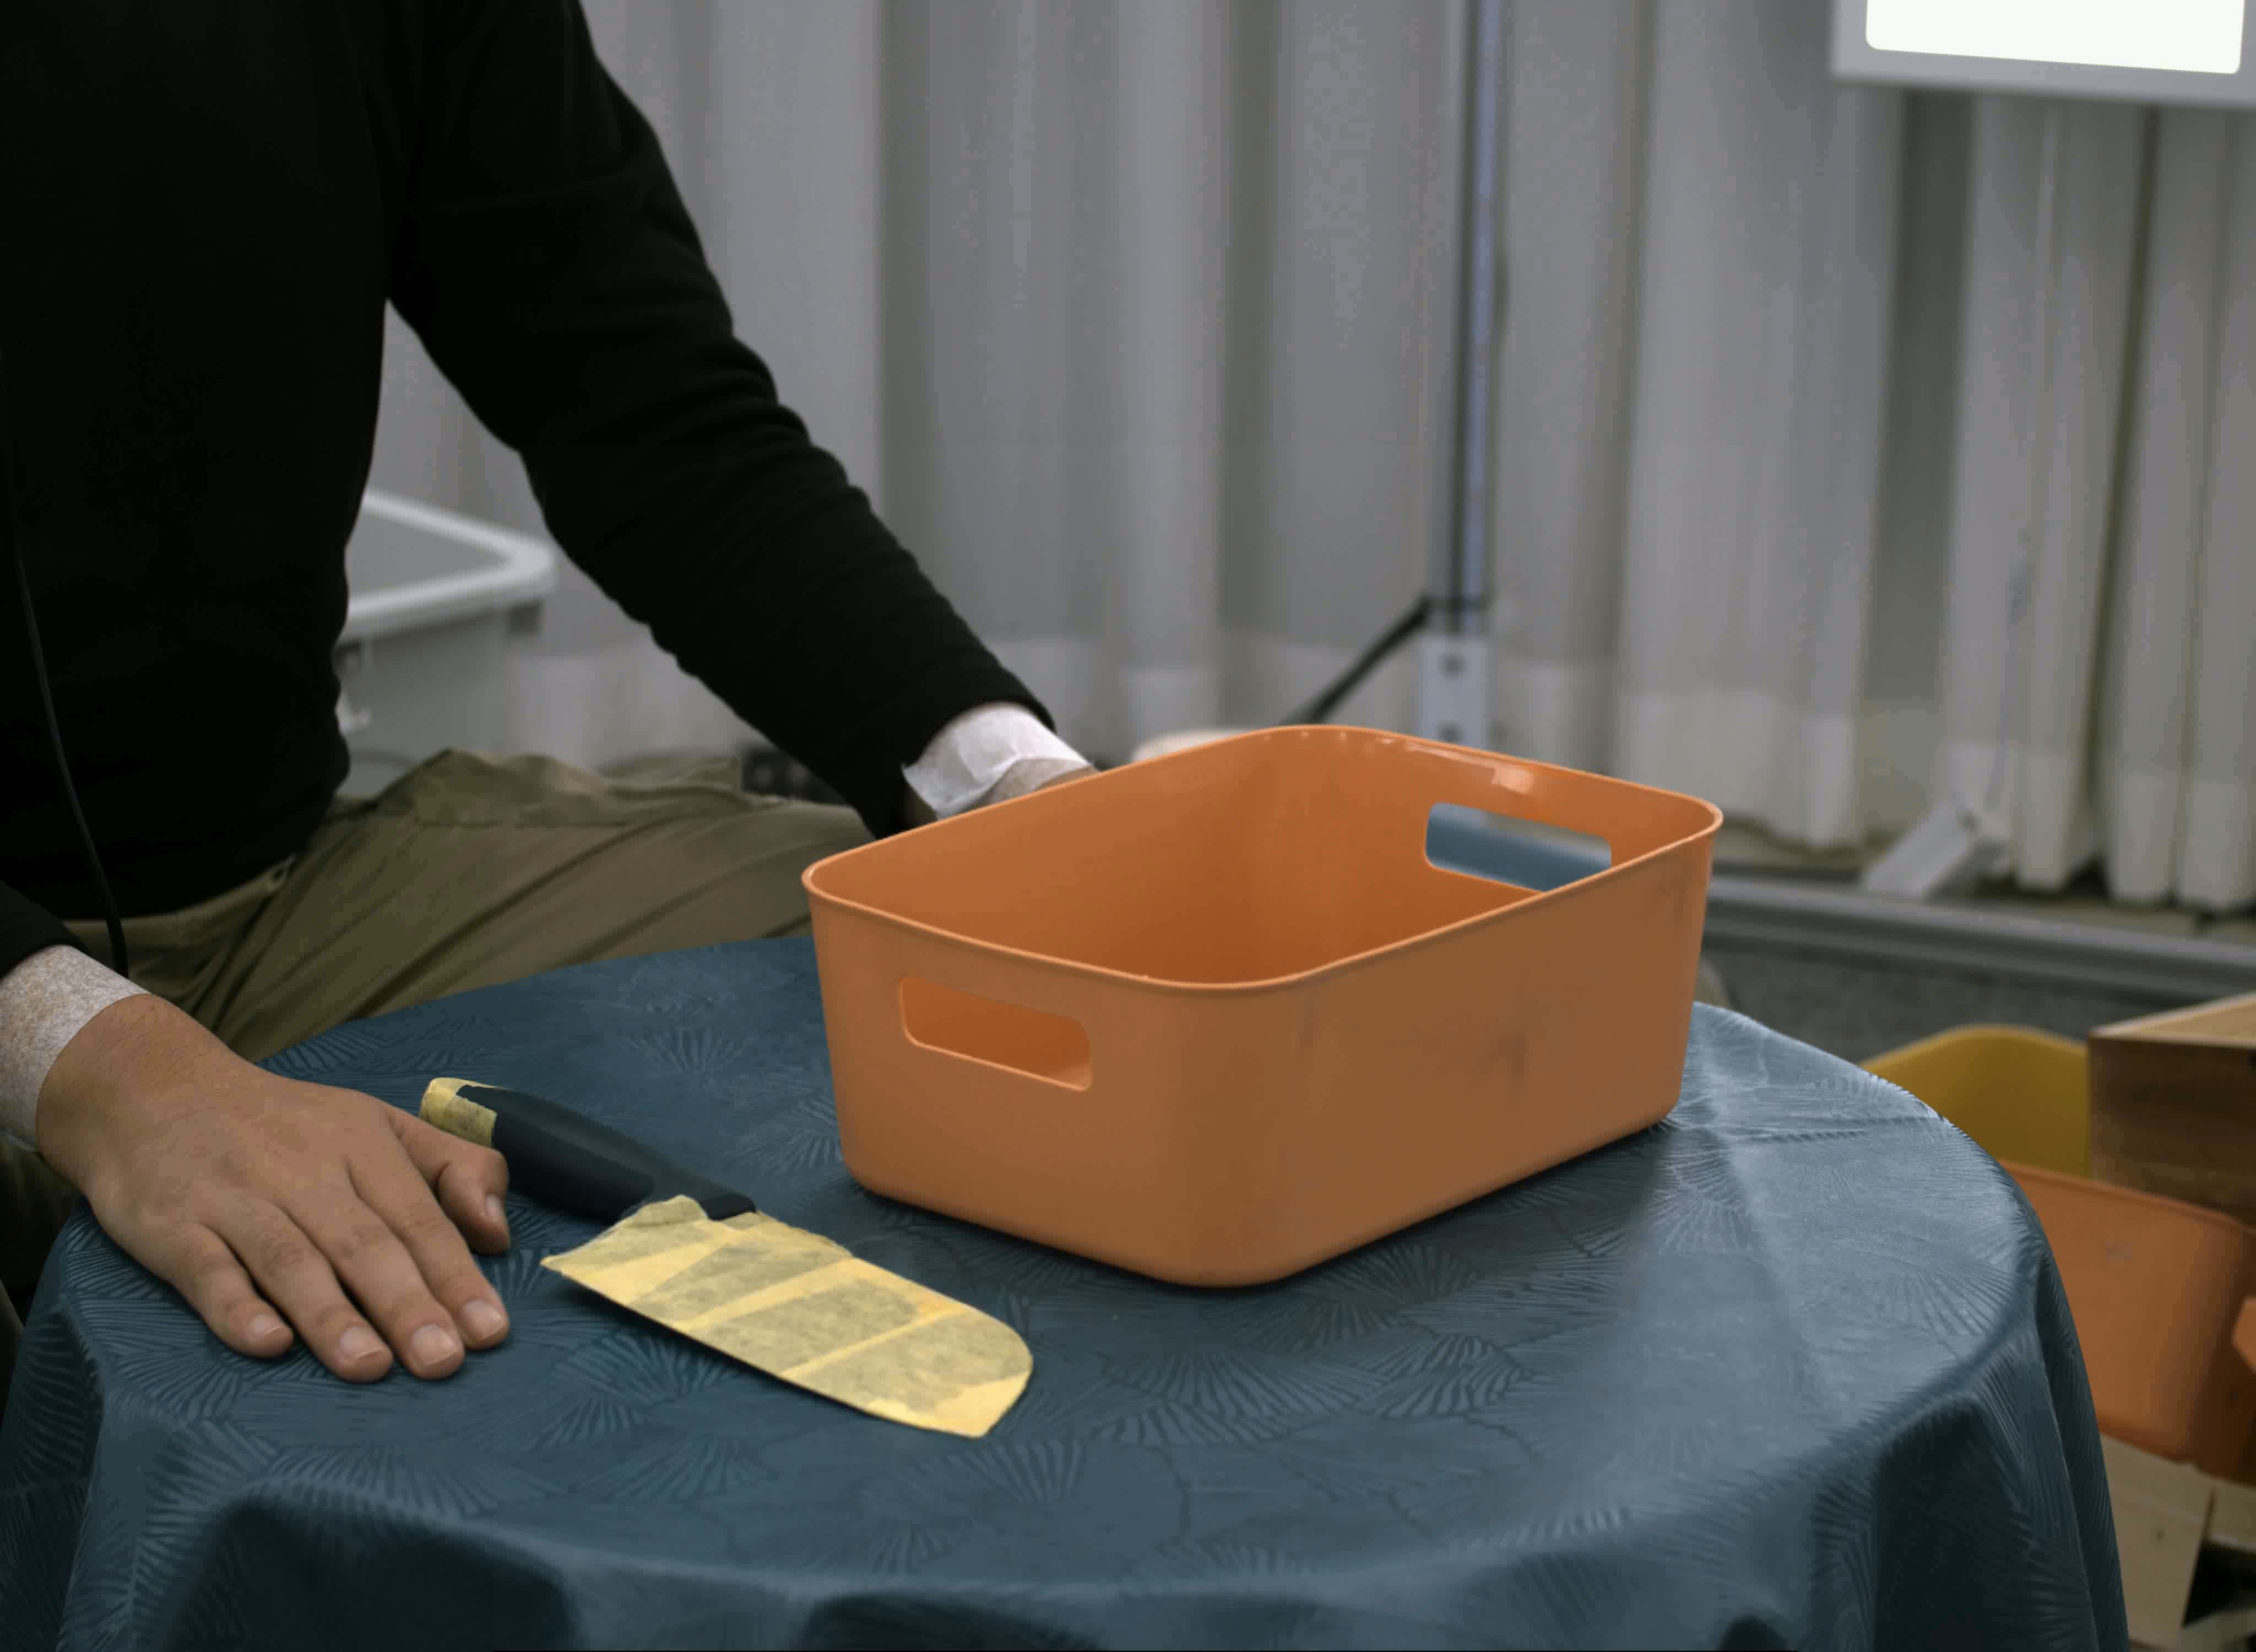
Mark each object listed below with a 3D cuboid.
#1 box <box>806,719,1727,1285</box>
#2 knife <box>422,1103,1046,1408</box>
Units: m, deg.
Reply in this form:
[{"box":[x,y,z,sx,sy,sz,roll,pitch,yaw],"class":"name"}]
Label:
[{"box":[0.044,0.051,1.647,0.197,0.103,0.274,14,21,38],"class":"box"},{"box":[-0.127,0.127,1.539,0.081,0.027,0.285,-10,20,-41],"class":"knife"}]
